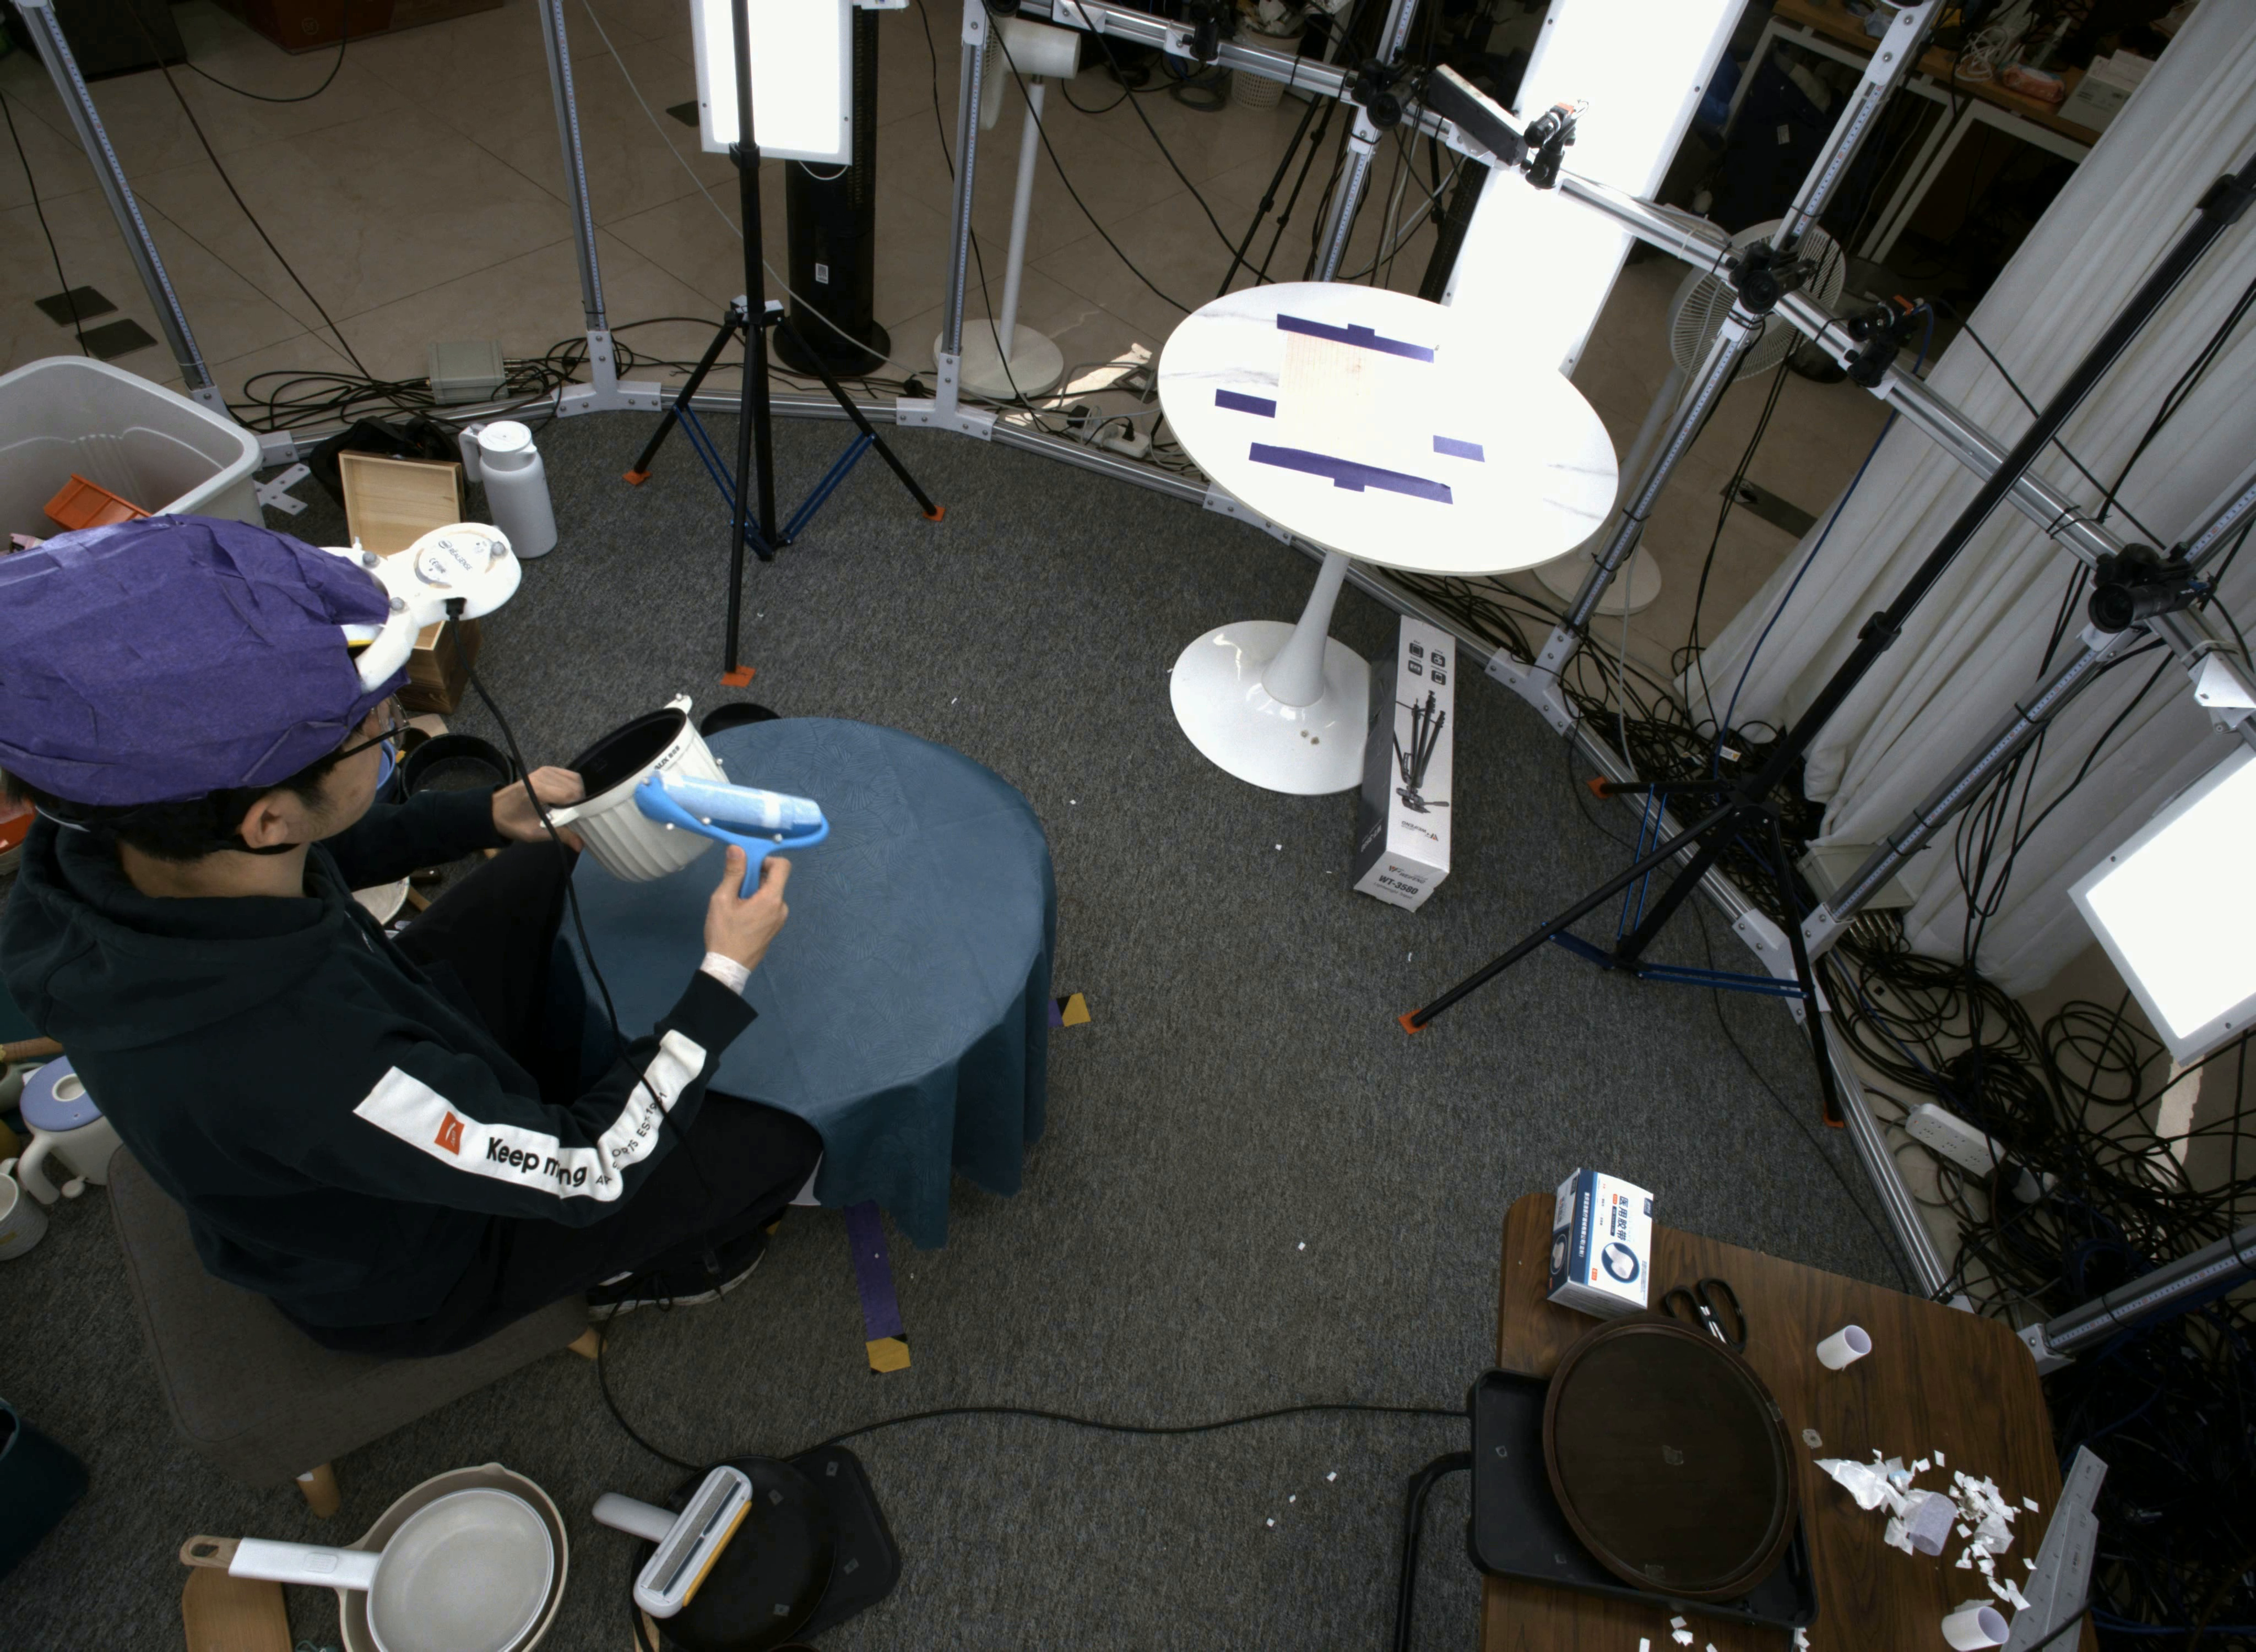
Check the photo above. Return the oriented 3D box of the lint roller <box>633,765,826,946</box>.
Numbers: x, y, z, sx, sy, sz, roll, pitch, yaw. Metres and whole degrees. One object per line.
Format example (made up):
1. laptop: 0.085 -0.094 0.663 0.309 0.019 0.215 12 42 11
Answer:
1. lint roller: -0.418 0.031 1.387 0.235 0.067 0.179 10 62 -51

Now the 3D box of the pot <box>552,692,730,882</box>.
1. pot: -0.547 -0.034 1.473 0.185 0.148 0.239 -7 38 38
